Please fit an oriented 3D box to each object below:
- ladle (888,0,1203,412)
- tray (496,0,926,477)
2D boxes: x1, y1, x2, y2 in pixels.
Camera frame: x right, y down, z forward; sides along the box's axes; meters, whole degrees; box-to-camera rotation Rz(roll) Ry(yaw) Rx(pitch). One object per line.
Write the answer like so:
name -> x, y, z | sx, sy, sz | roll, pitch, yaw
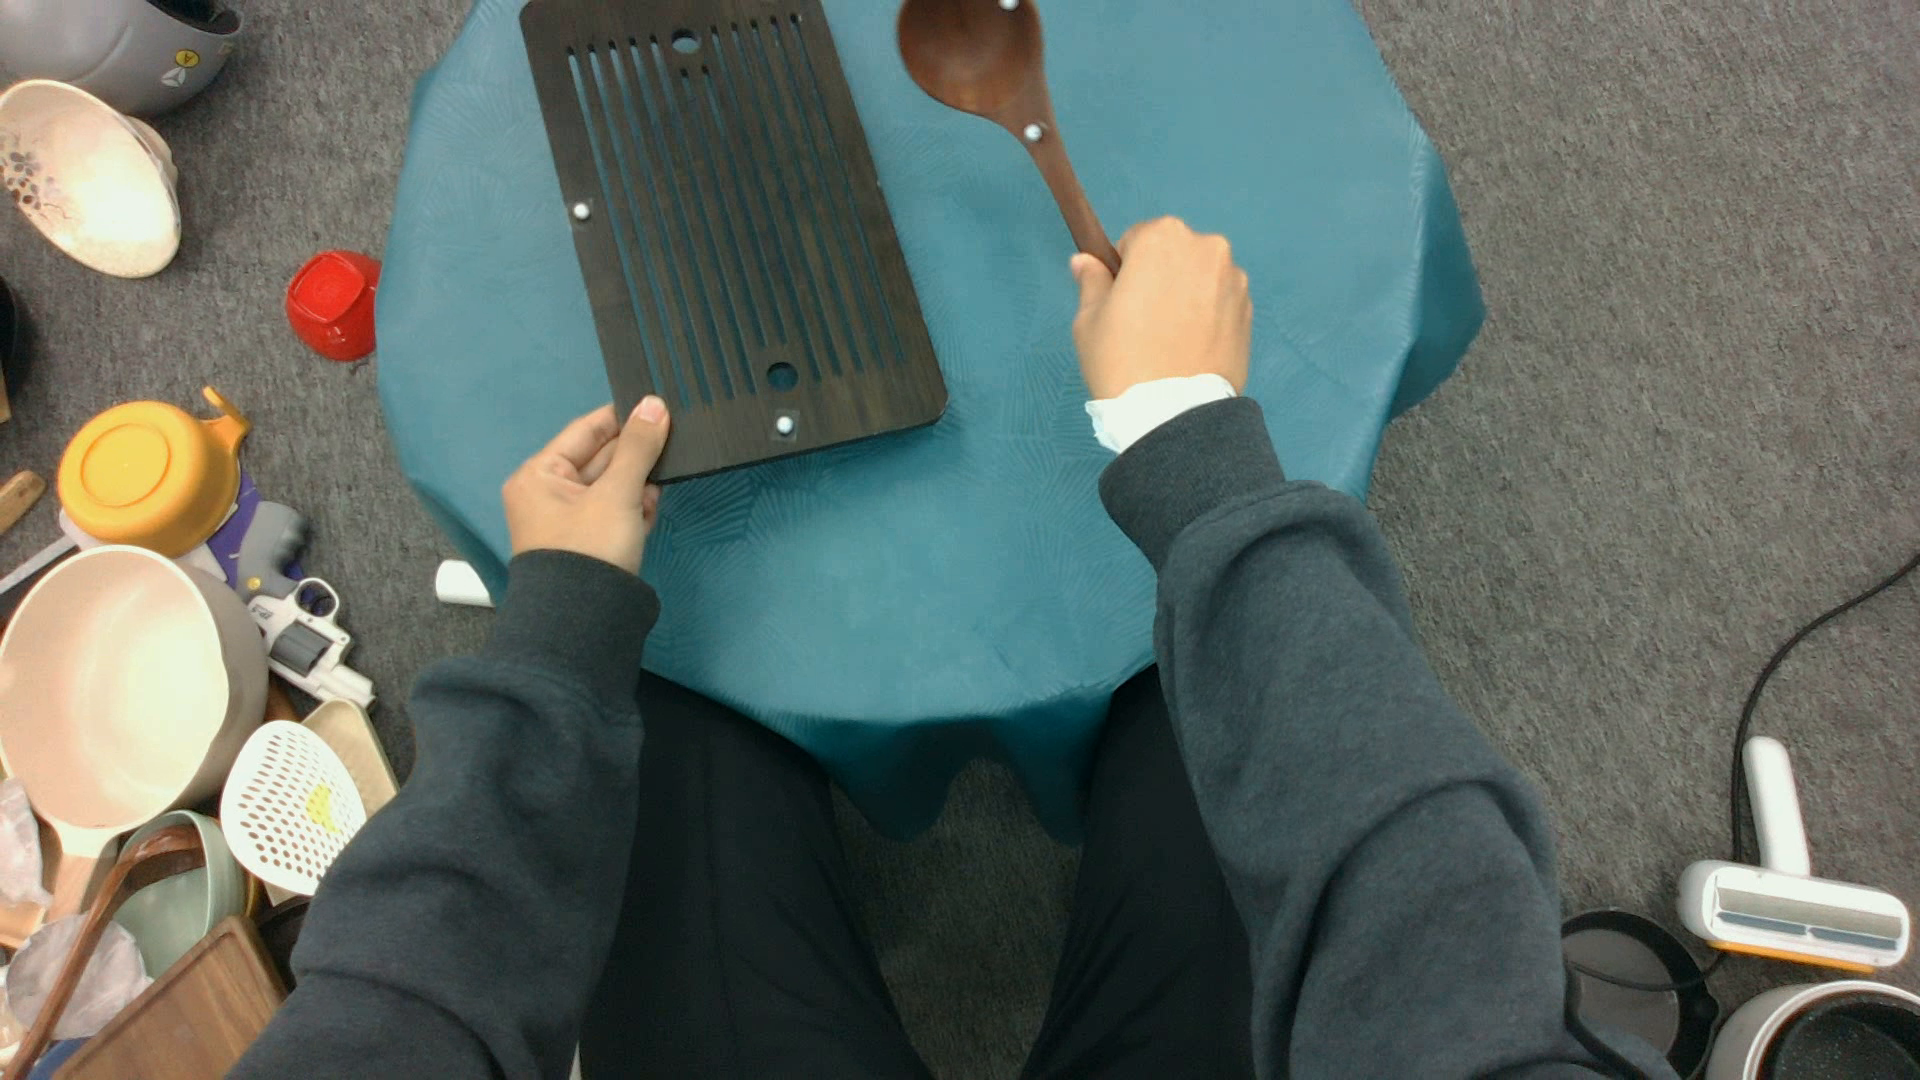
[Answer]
ladle -> 0.046, -0.178, 0.696 | 0.076, 0.065, 0.260 | -32, 81, 33
tray -> -0.140, -0.185, 0.757 | 0.170, 0.018, 0.306 | -14, 72, -14
